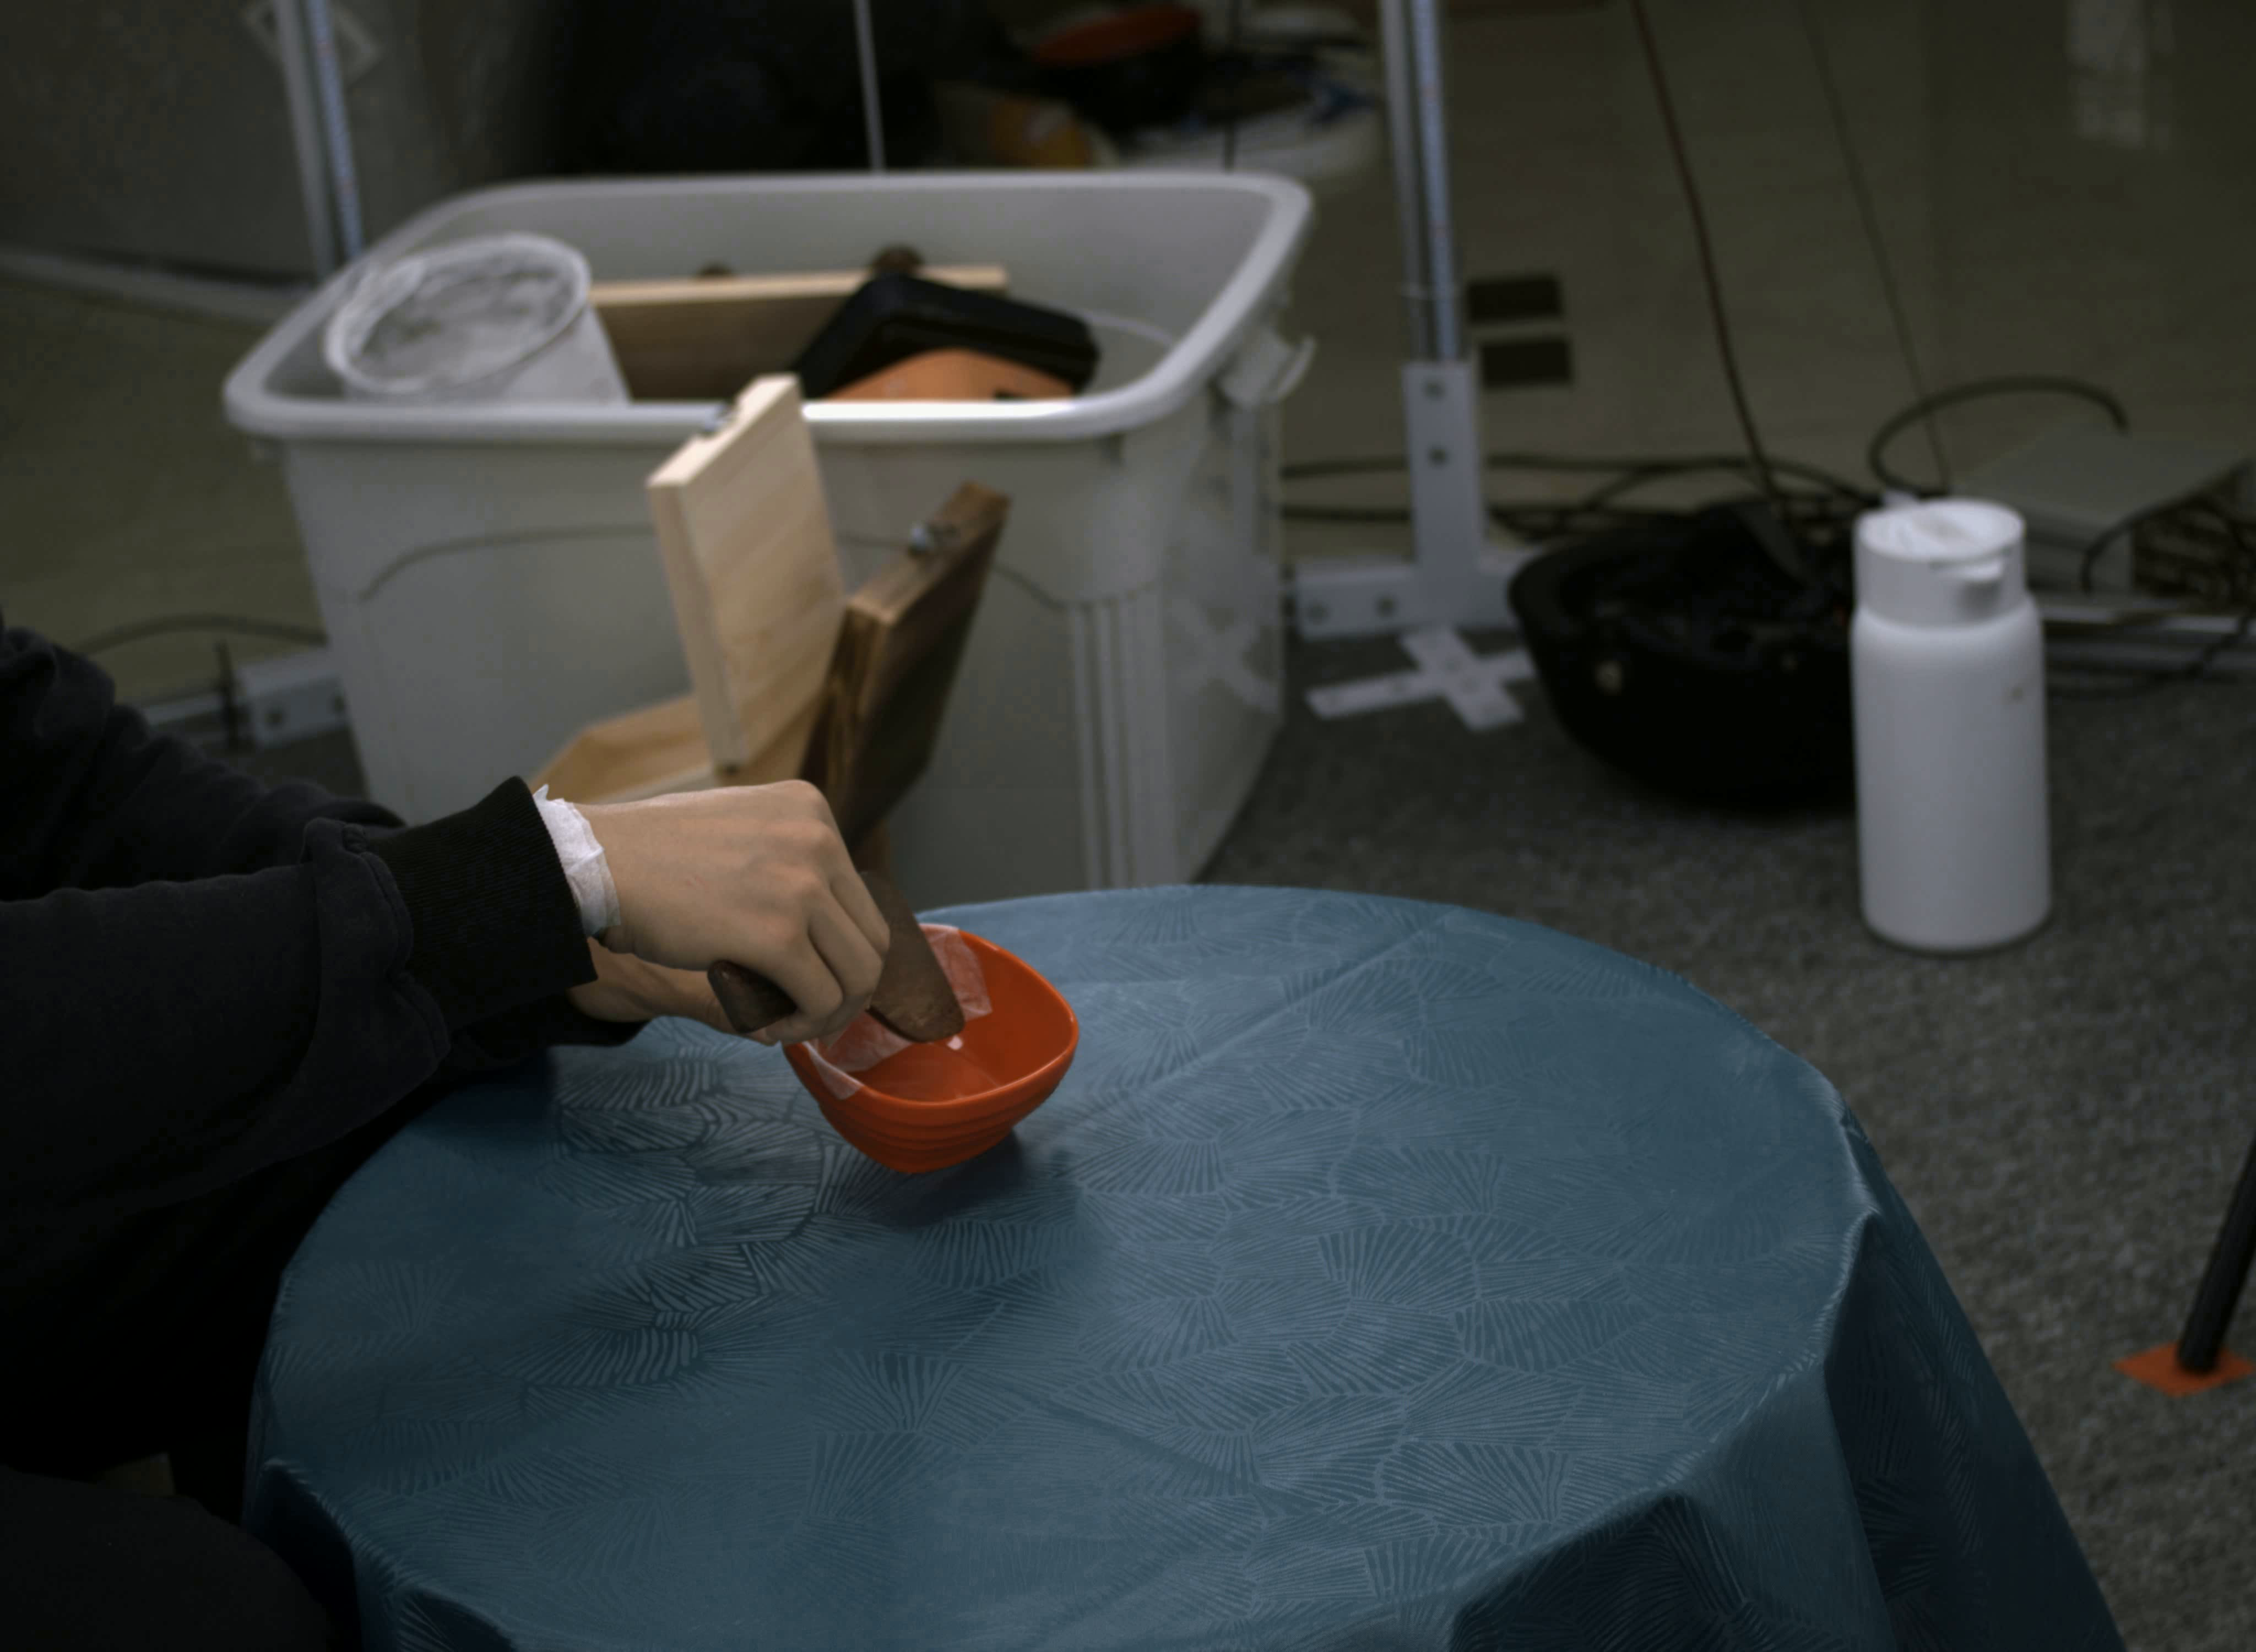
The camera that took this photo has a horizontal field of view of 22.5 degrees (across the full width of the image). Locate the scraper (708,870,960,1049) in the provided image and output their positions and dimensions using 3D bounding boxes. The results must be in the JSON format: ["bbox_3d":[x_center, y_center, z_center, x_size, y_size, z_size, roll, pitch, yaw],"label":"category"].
[{"bbox_3d":[-0.113,0.057,2.114,0.011,0.076,0.211,-28,-5,17],"label":"scraper"}]

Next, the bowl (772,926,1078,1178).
[{"bbox_3d":[-0.081,0.094,2.193,0.119,0.052,0.117,6,36,-4],"label":"bowl"}]
